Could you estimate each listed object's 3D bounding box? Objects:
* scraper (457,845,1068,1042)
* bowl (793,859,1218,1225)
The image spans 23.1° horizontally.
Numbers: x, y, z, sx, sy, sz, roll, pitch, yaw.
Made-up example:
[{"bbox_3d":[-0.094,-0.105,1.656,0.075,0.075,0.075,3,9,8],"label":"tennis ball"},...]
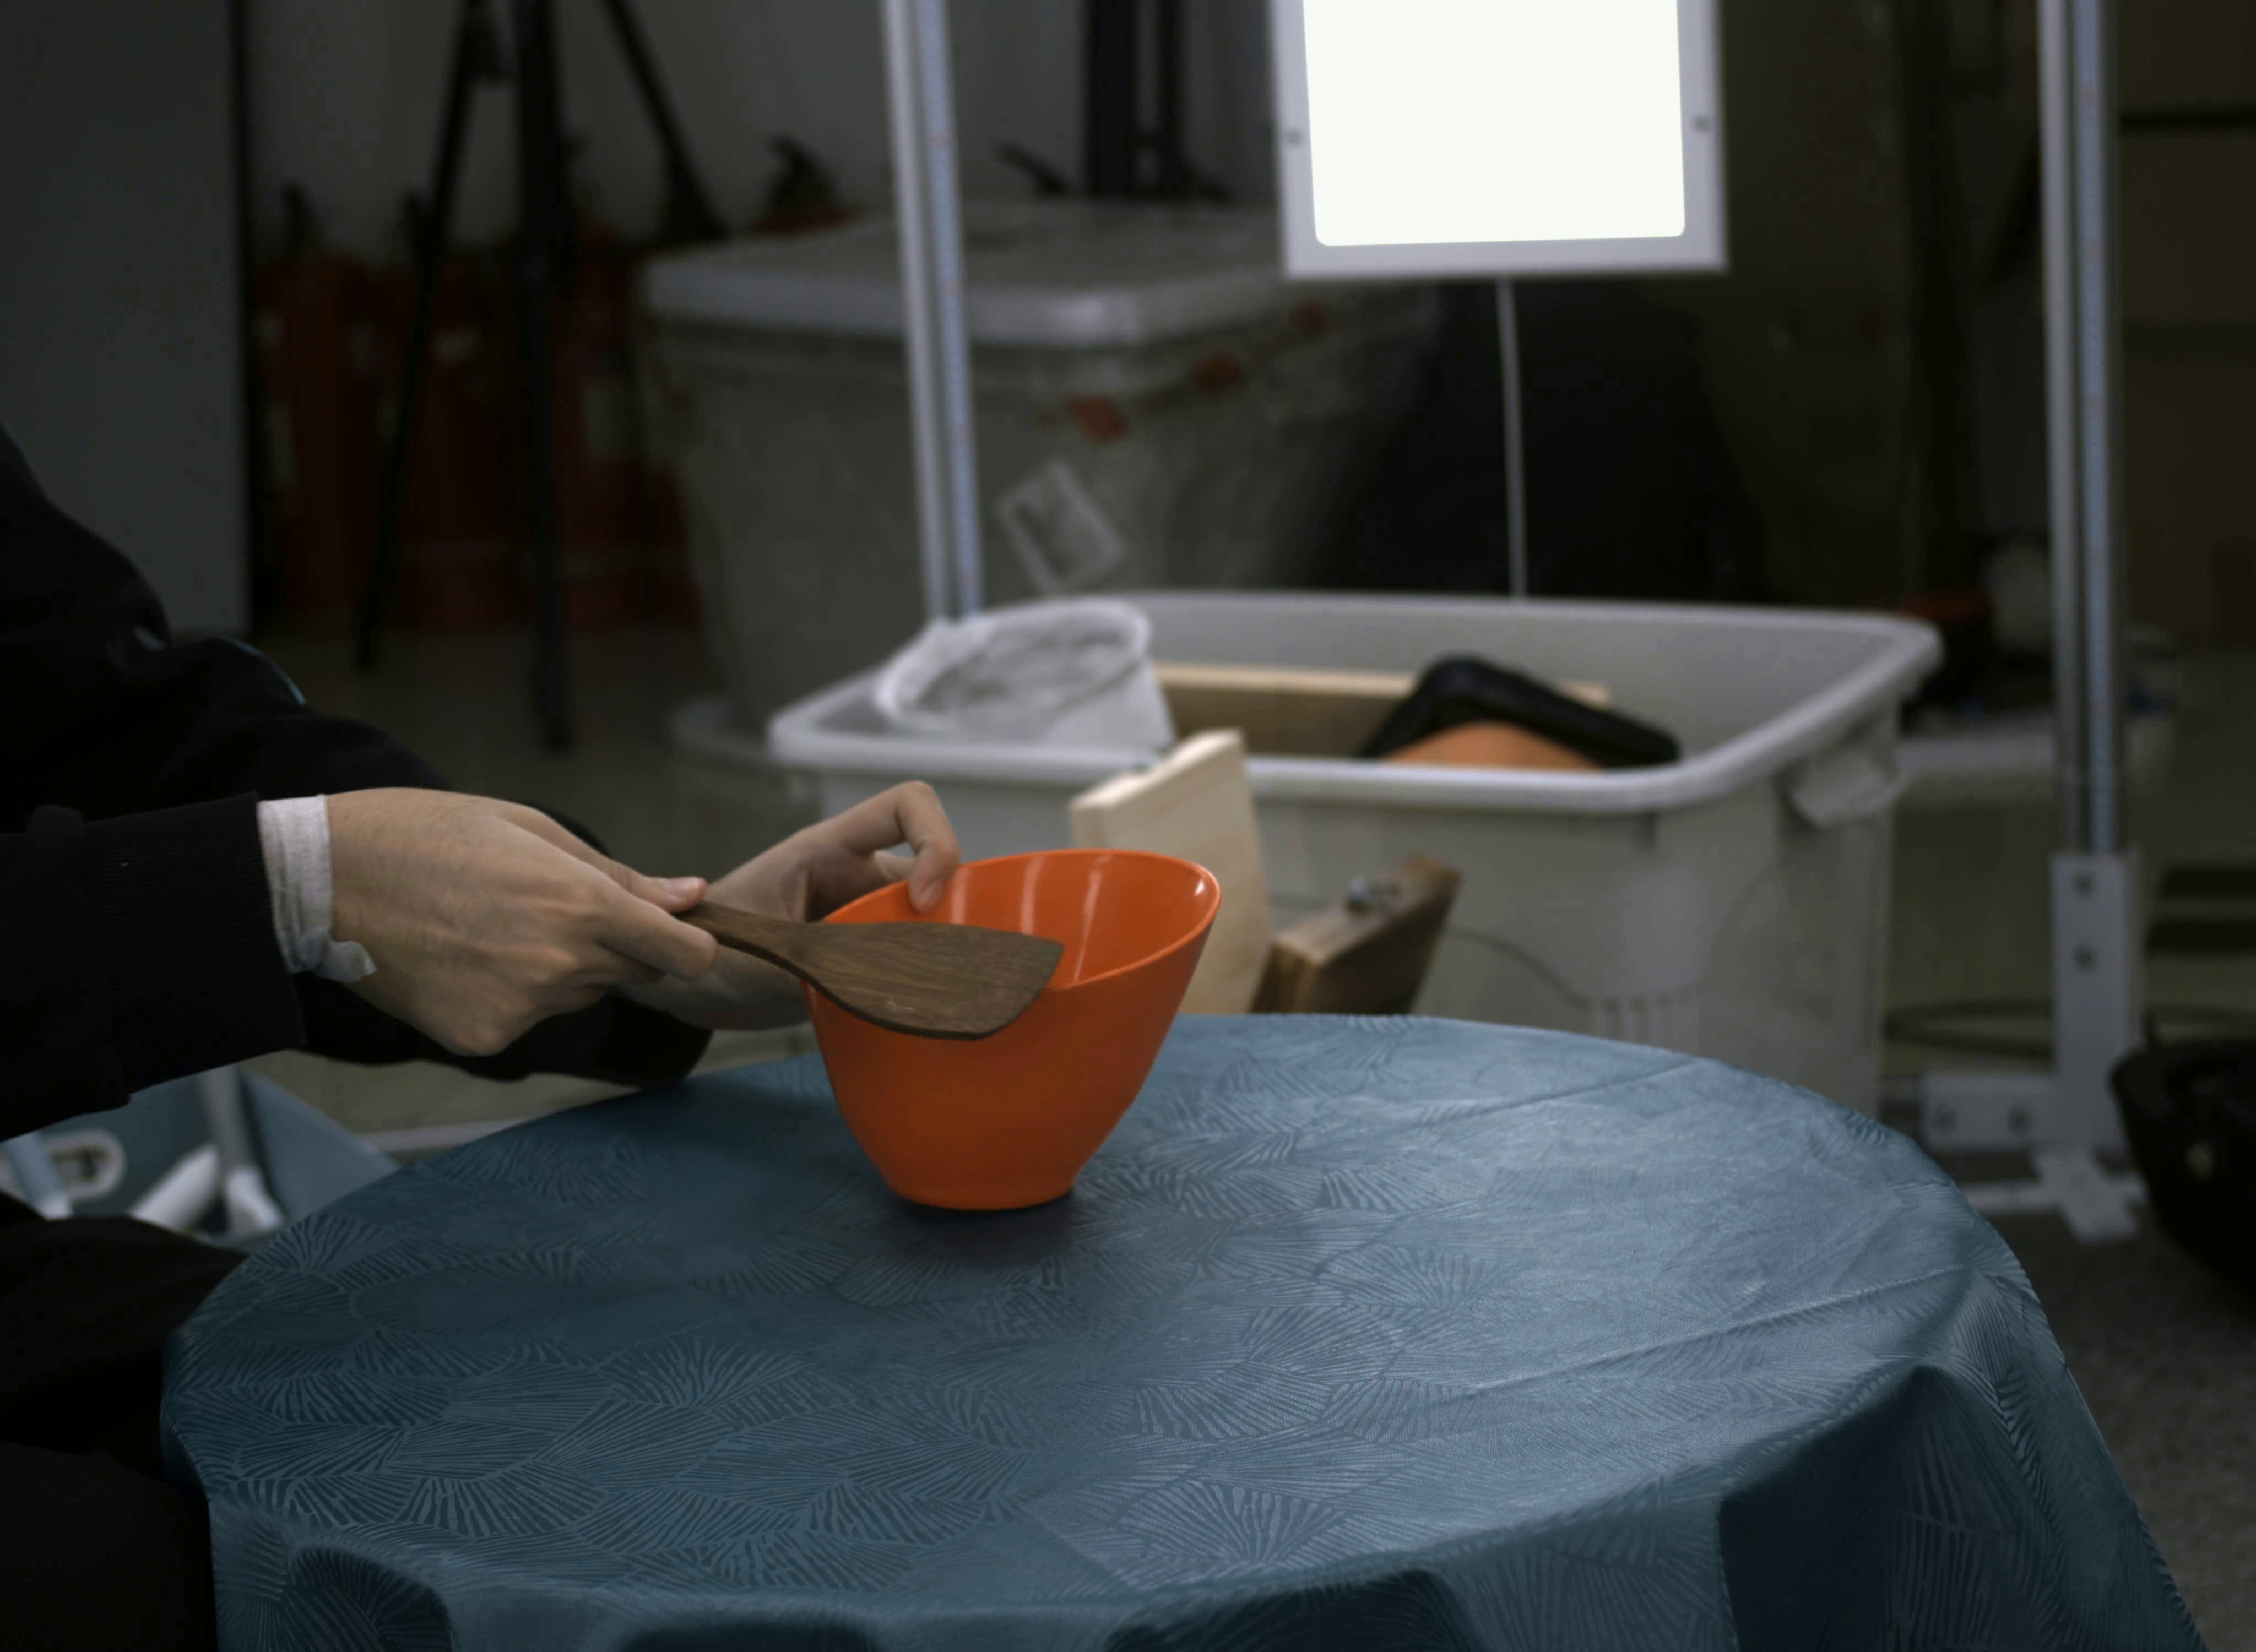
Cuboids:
[{"bbox_3d":[-0.125,0.035,1.834,0.213,0.011,0.074,13,29,18],"label":"scraper"},{"bbox_3d":[-0.040,0.077,1.901,0.147,0.105,0.148,-3,15,-1],"label":"bowl"}]
